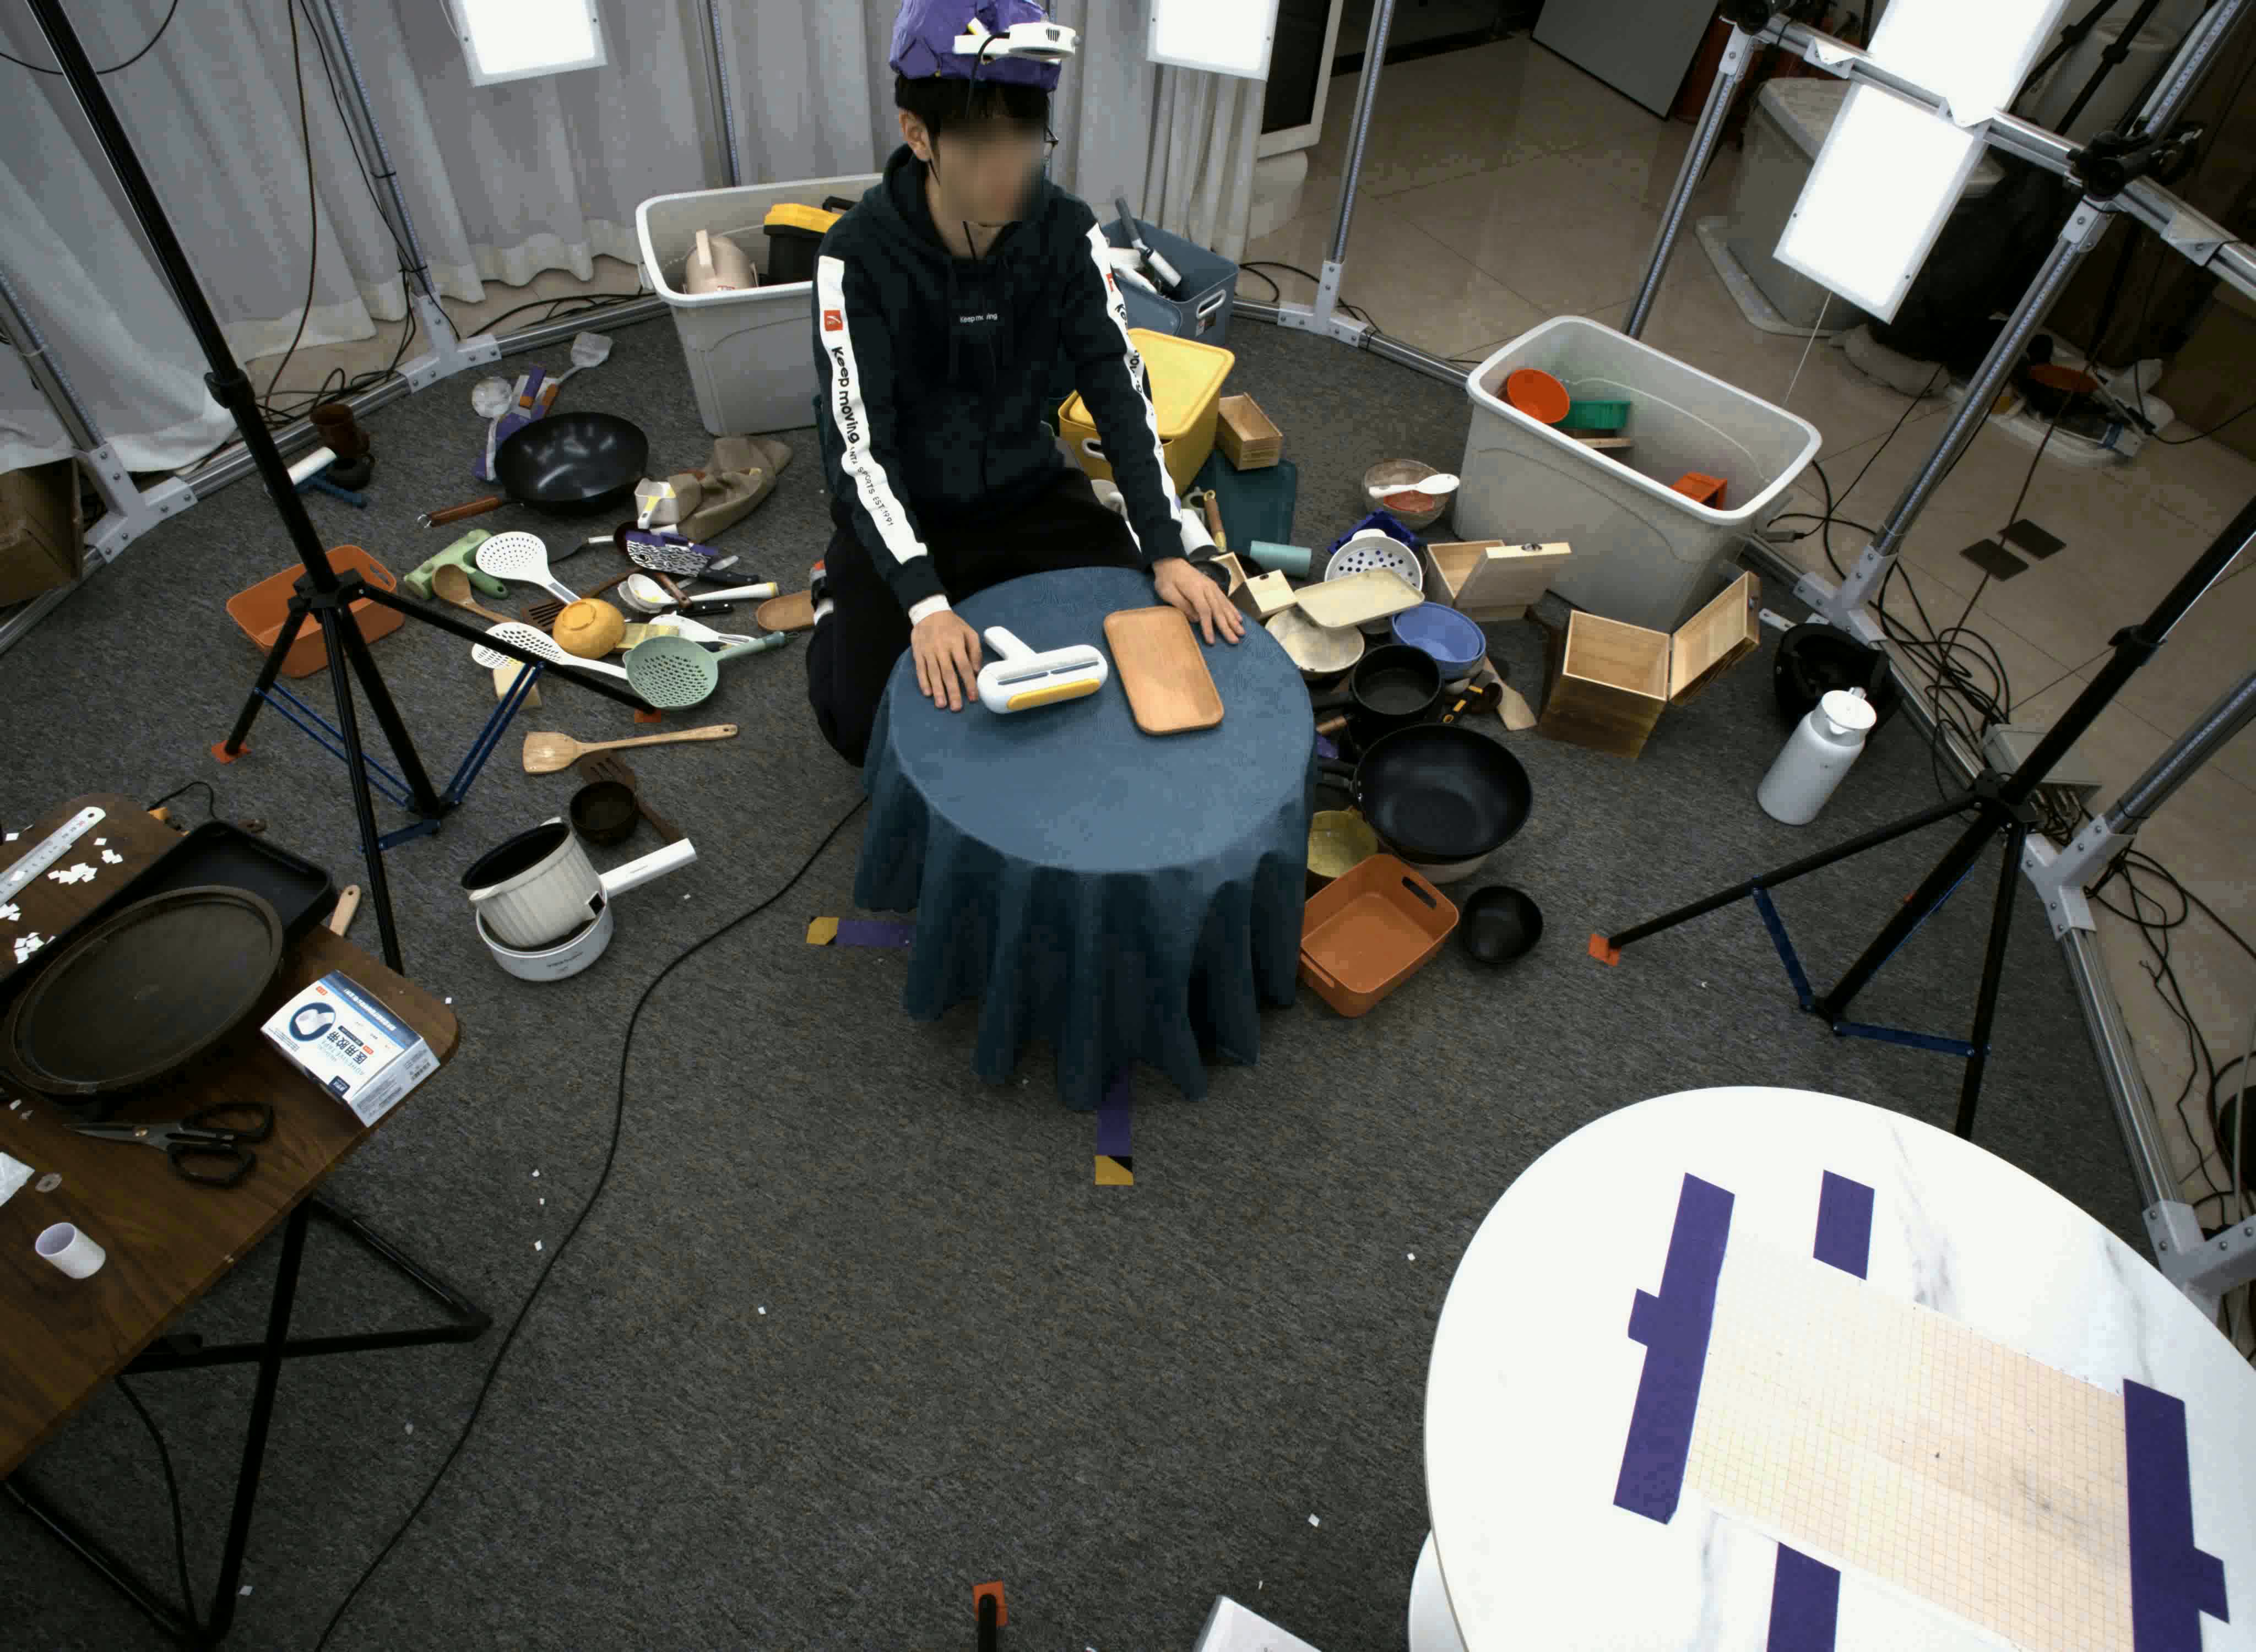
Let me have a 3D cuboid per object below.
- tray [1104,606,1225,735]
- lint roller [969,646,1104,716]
[{"bbox_3d":[0.050,-0.228,1.859,0.130,0.022,0.257,-7,49,-12],"label":"tray"},{"bbox_3d":[-0.151,-0.223,1.832,0.193,0.072,0.196,-13,37,-23],"label":"lint roller"}]
